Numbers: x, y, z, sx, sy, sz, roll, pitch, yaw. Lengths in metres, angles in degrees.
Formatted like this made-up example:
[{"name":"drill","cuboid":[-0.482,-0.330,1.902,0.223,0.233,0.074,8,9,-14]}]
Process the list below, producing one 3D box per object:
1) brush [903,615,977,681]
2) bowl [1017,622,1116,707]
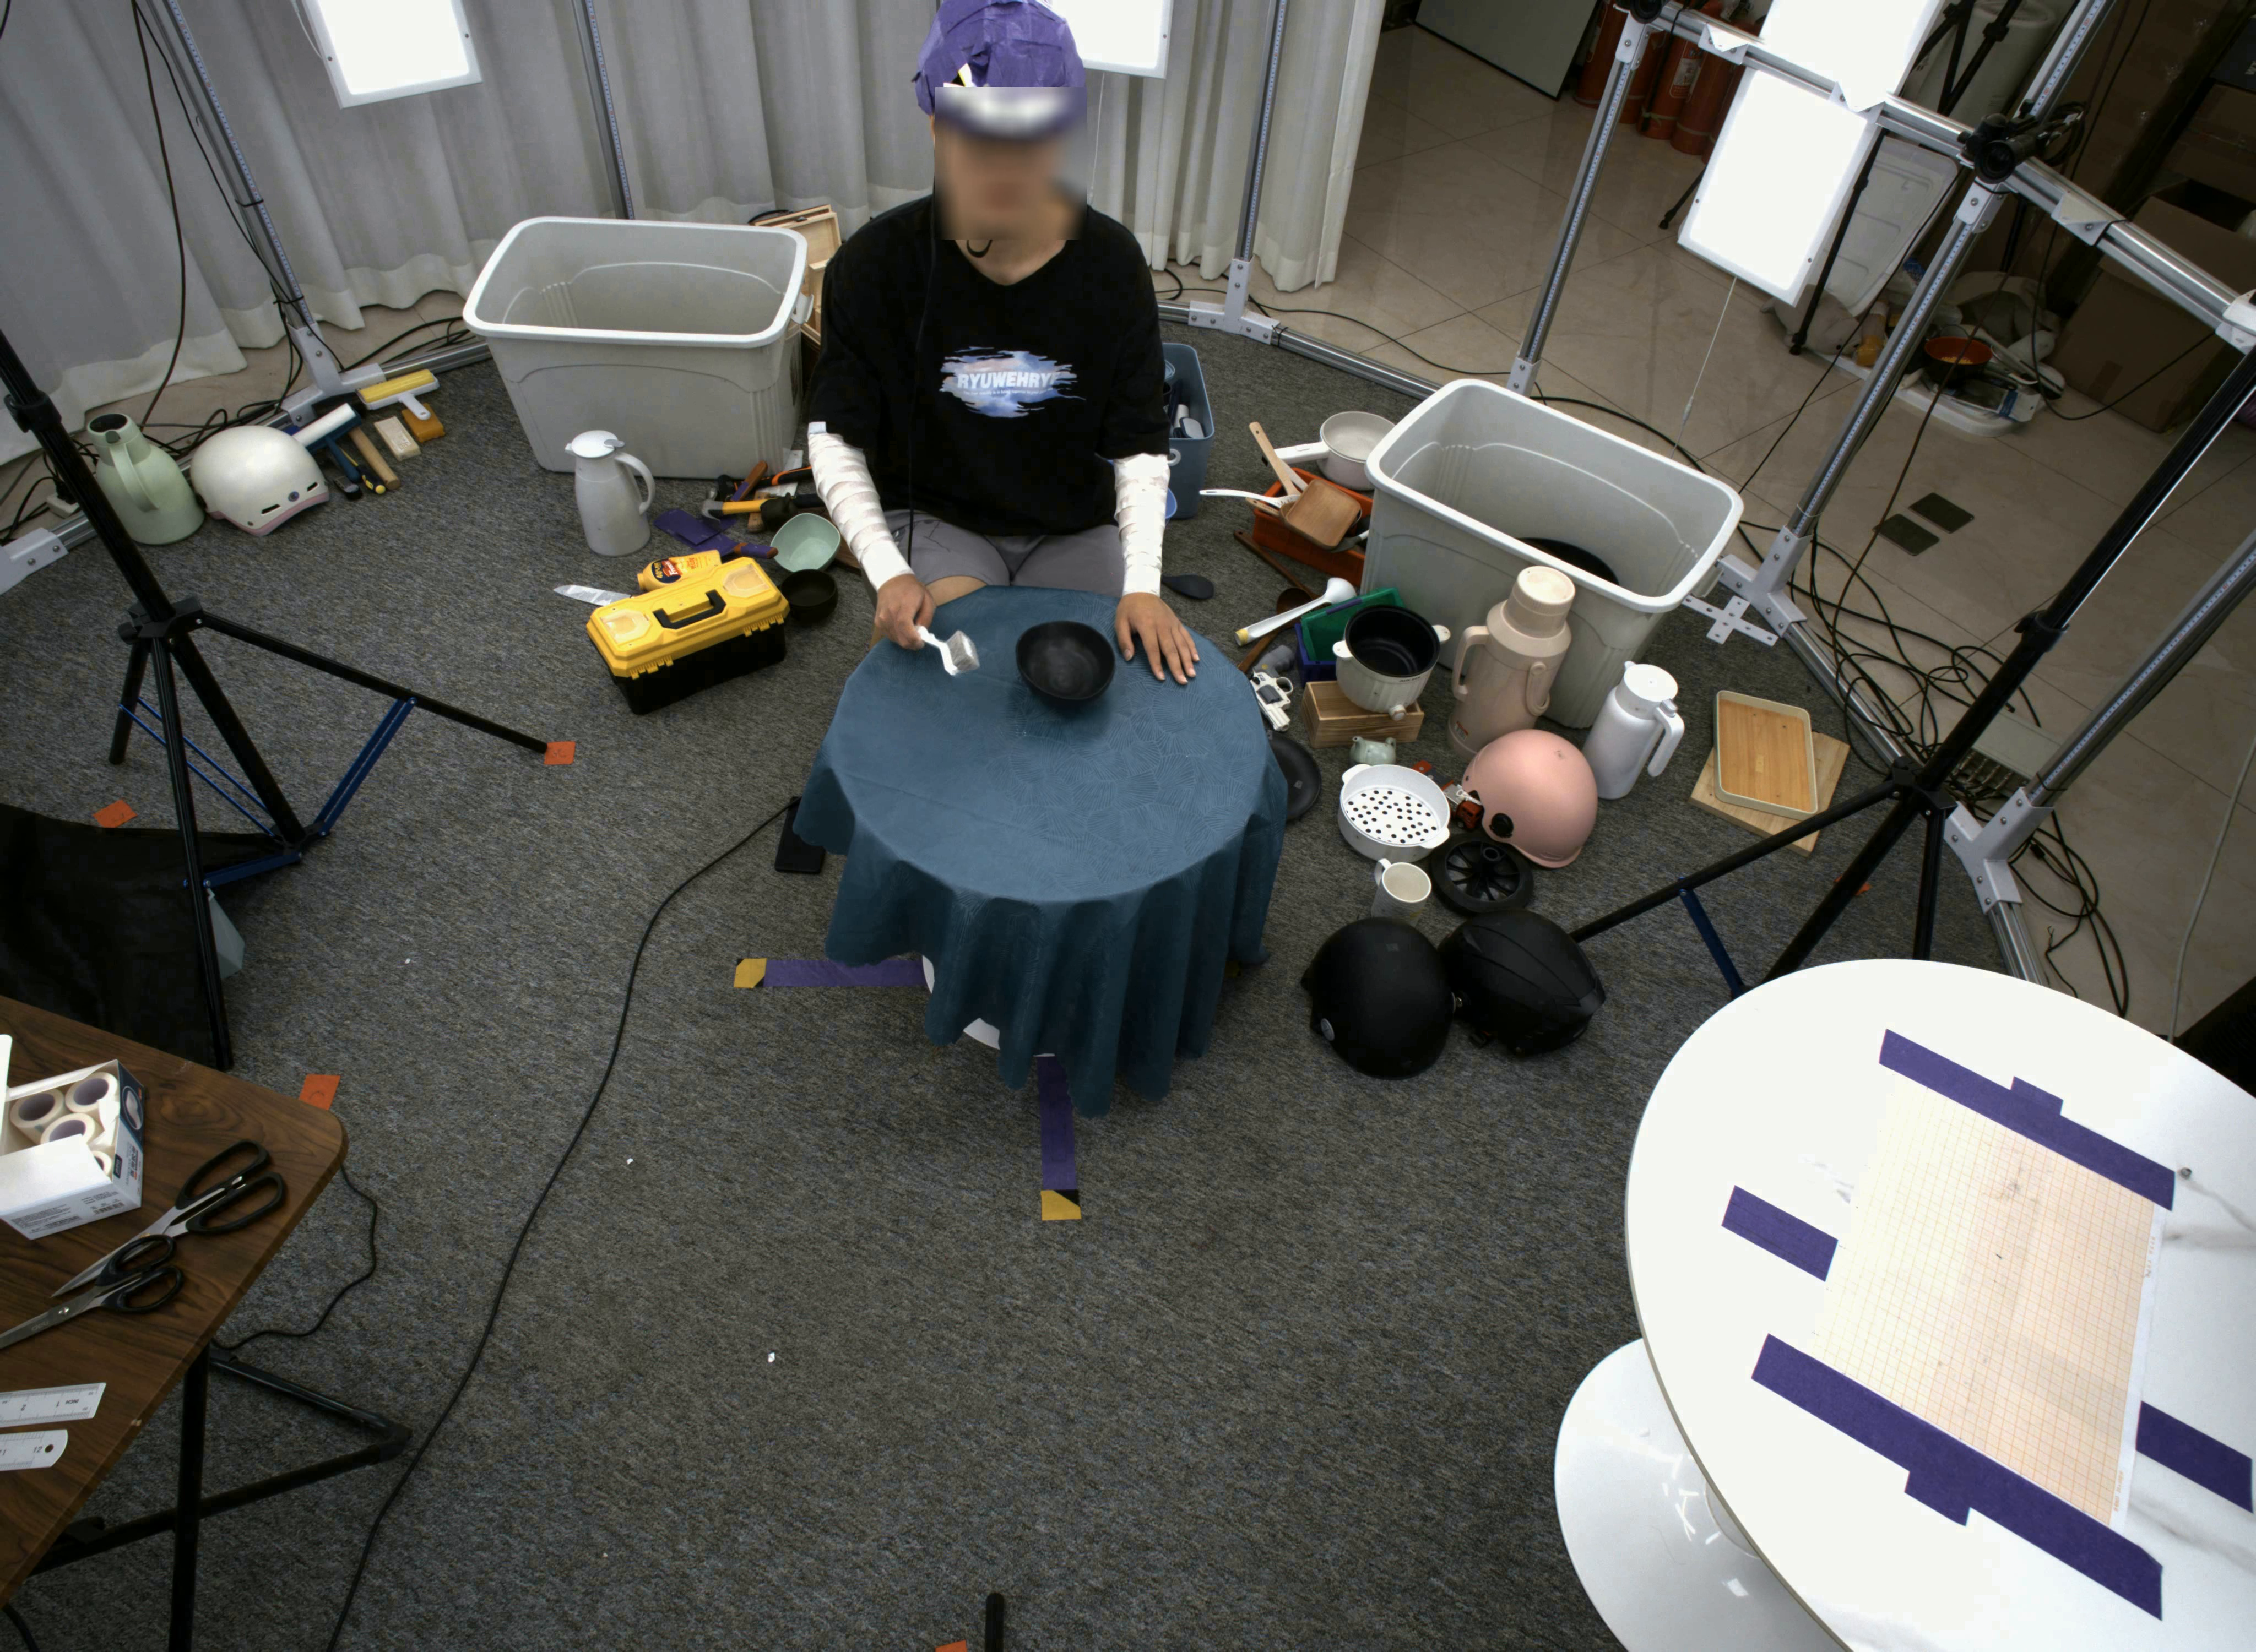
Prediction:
[{"name":"brush","cuboid":[-0.259,-0.263,1.770,0.050,0.034,0.248,-51,35,6]},{"name":"bowl","cuboid":[-0.088,-0.221,1.817,0.137,0.065,0.174,-11,49,-12]}]
